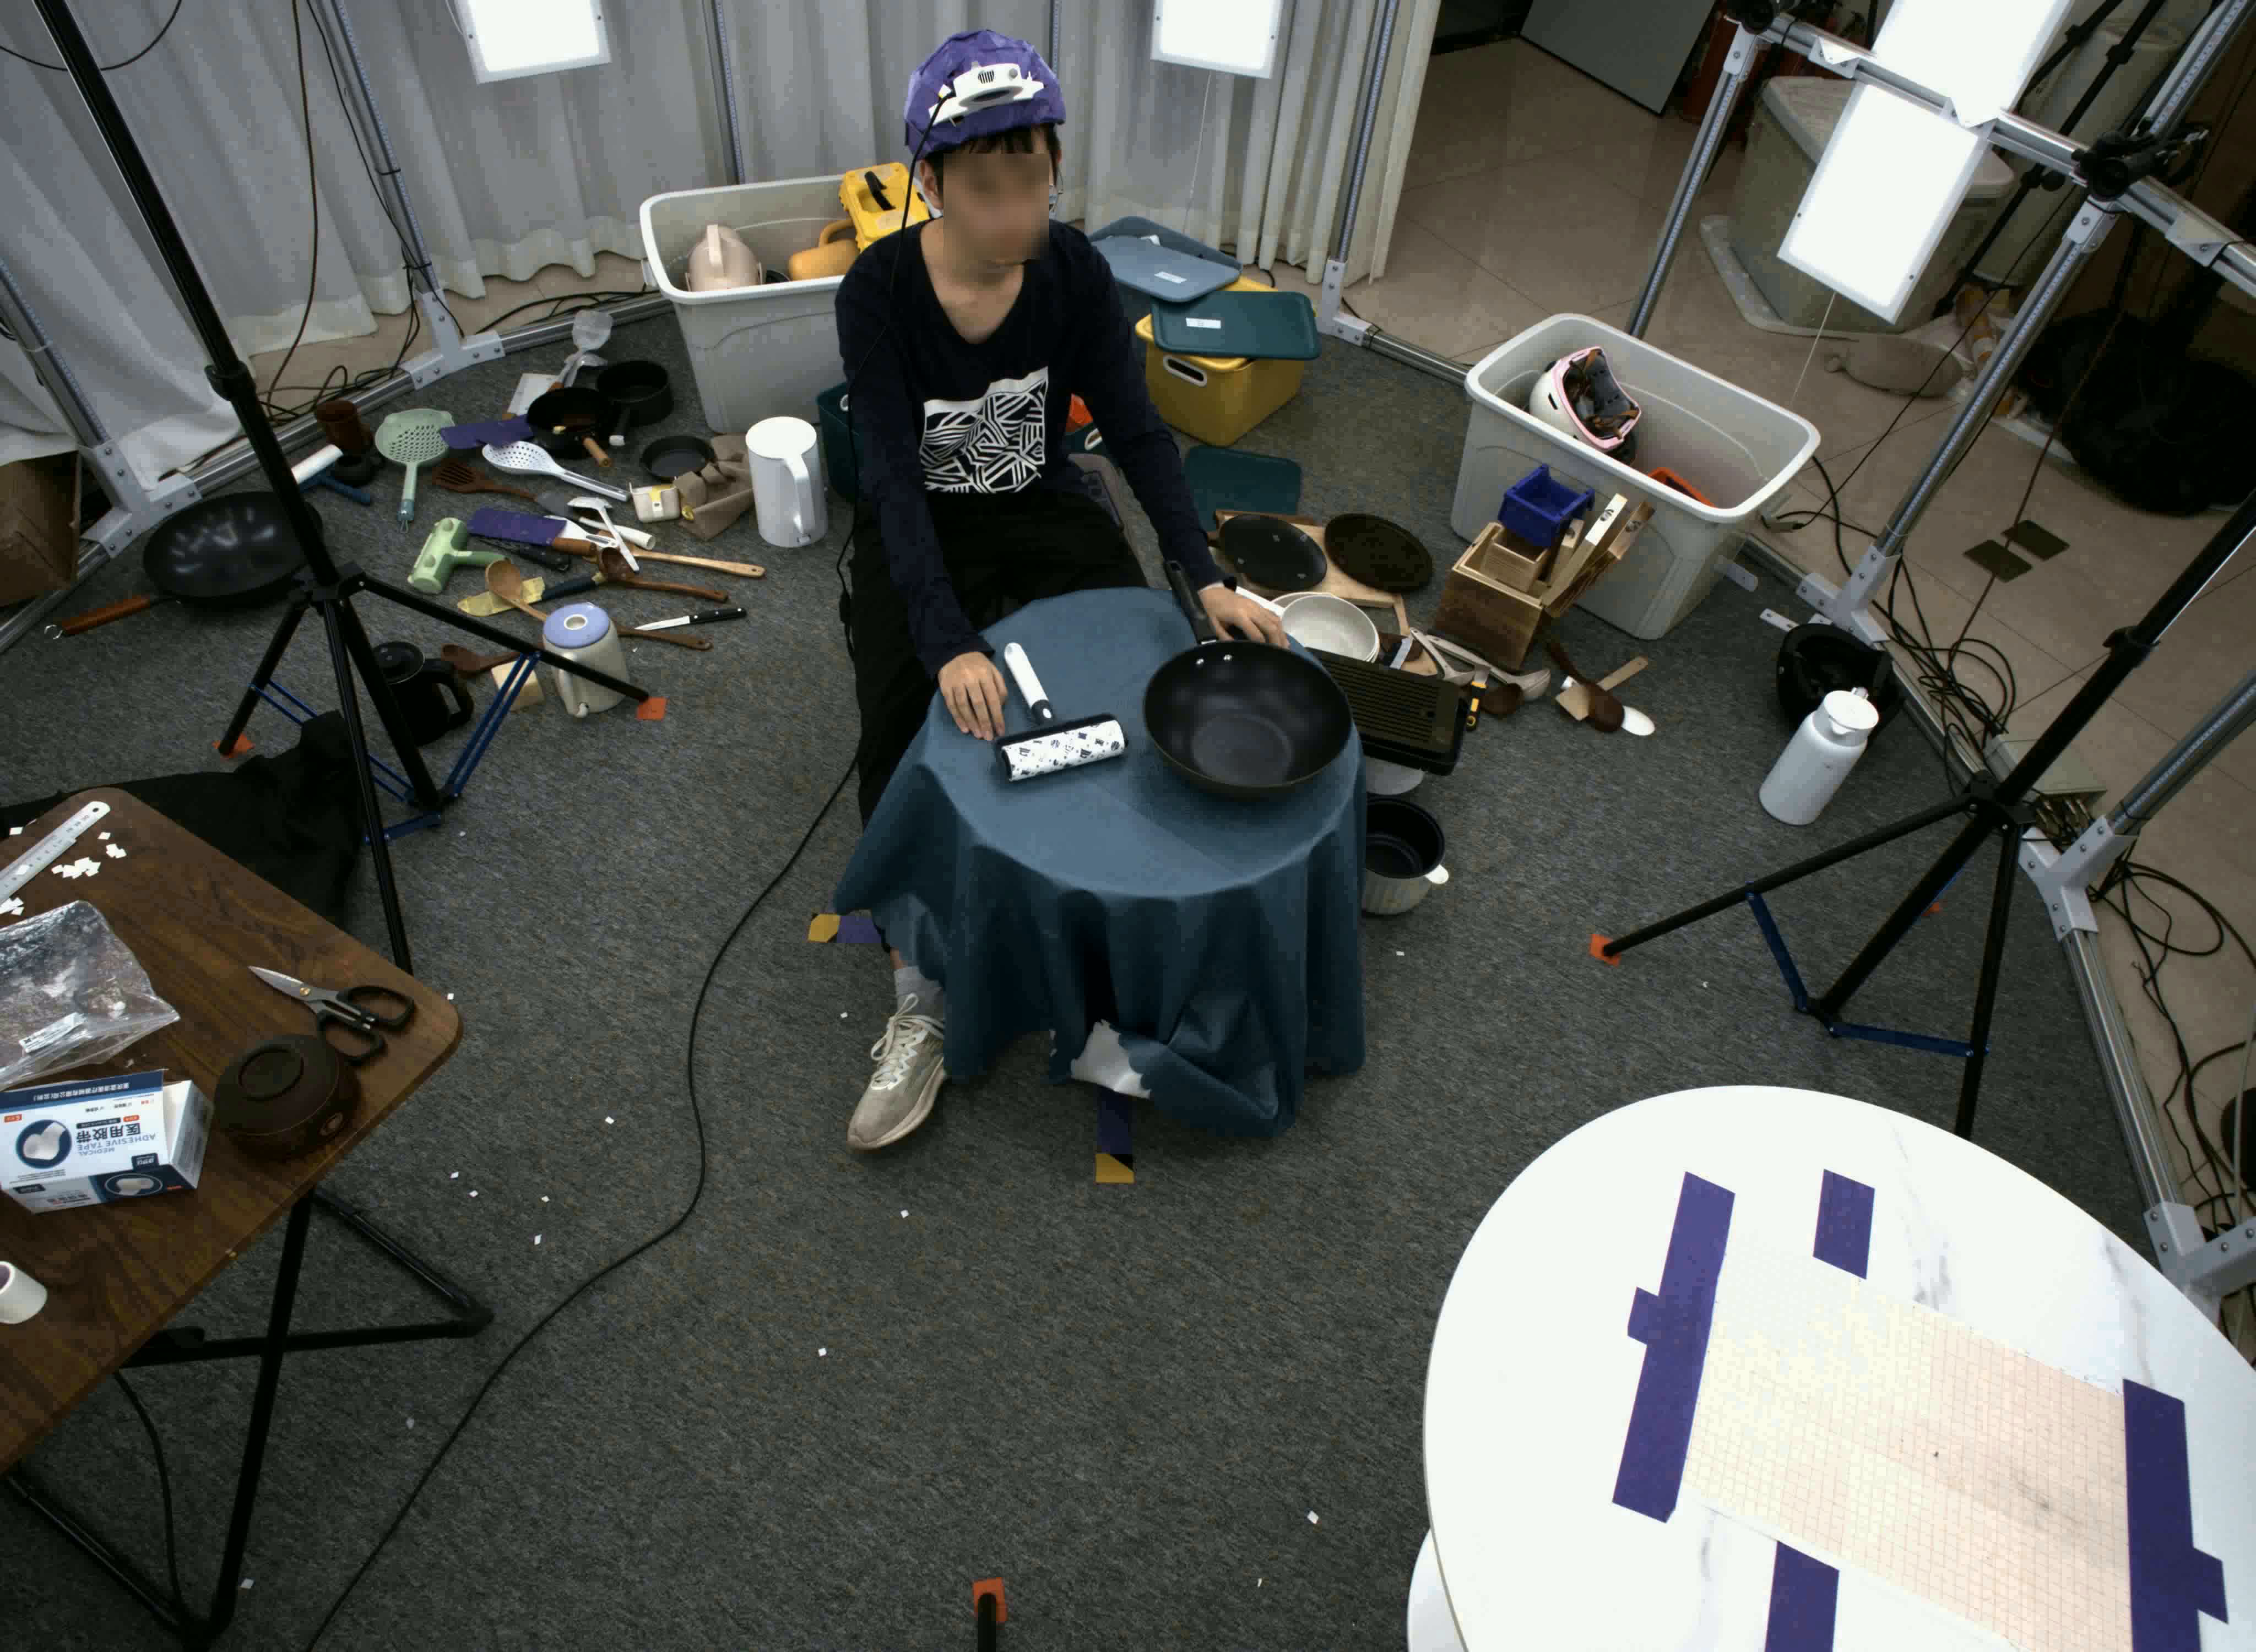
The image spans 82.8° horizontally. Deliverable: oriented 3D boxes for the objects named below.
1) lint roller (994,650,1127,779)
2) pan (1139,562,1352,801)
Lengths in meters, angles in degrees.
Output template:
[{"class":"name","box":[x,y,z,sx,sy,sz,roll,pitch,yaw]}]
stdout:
[{"class":"lint roller","box":[-0.125,-0.172,1.783,0.176,0.049,0.253,-16,48,-15]},{"class":"pan","box":[0.129,-0.198,1.793,0.288,0.085,0.475,-11,50,-12]}]
